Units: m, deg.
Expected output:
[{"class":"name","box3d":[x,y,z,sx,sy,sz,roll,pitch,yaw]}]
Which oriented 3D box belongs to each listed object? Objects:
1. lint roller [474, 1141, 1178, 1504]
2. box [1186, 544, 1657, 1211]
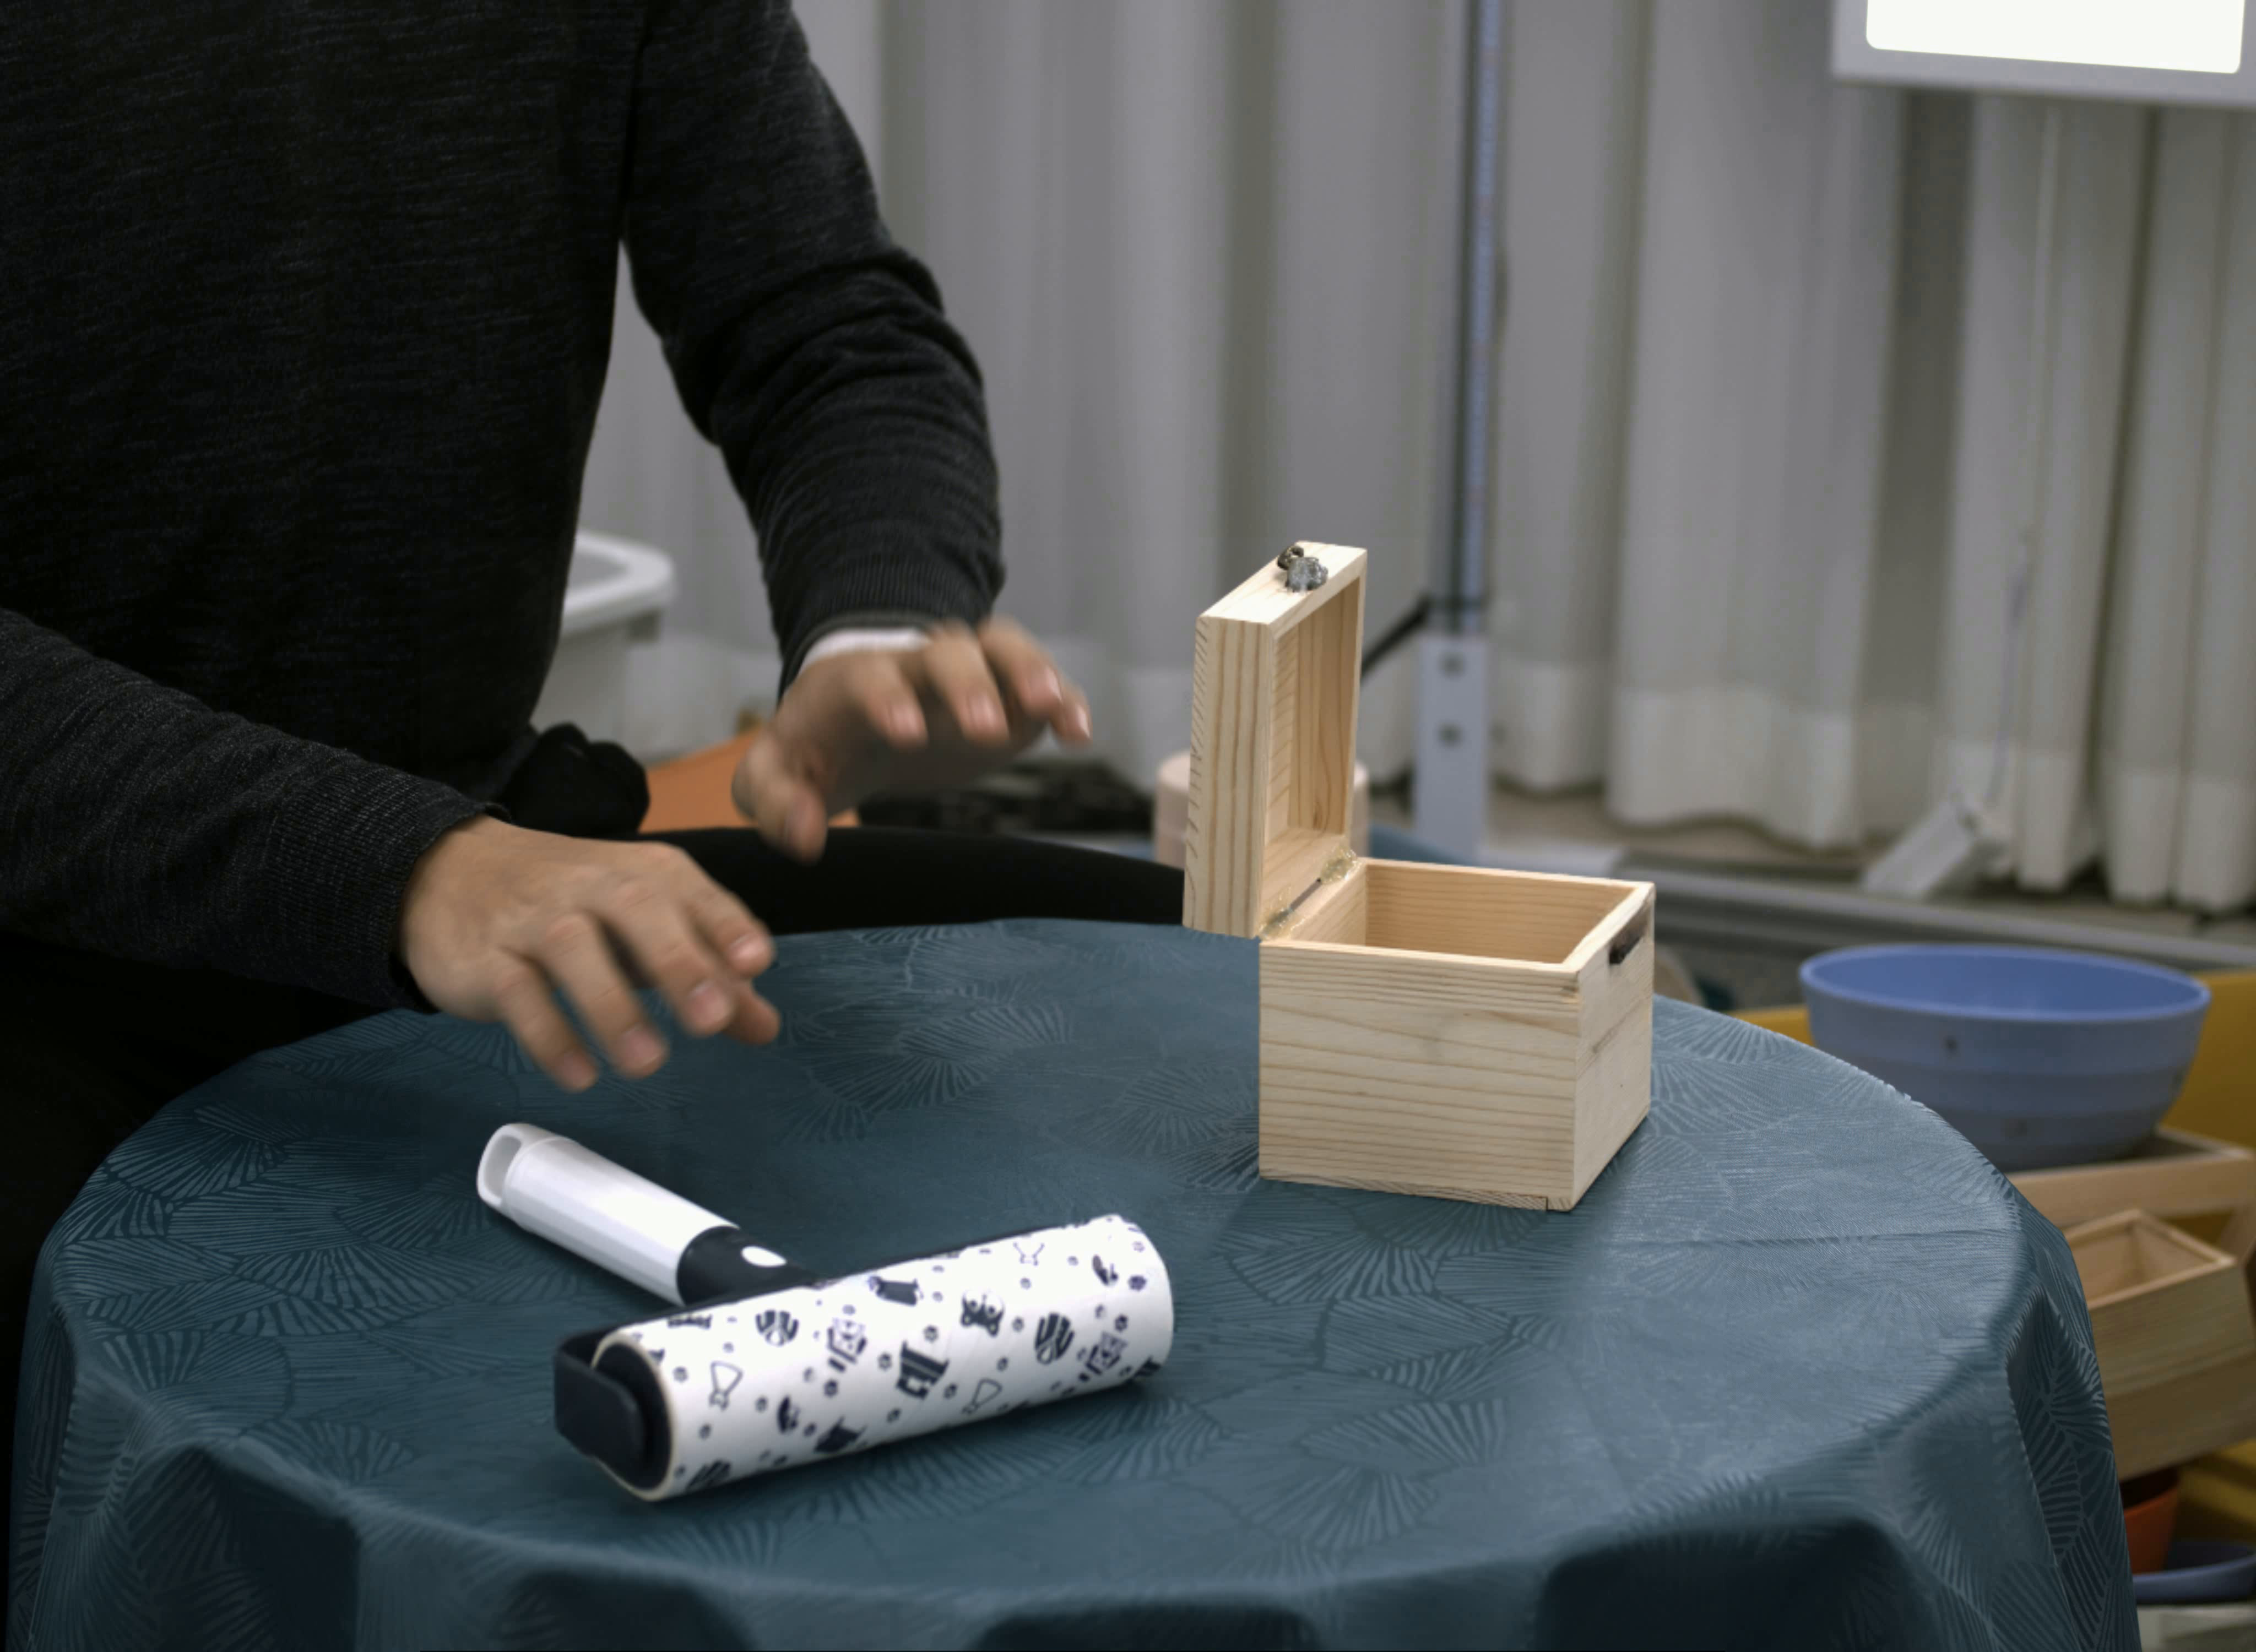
[{"class":"lint roller","box3d":[-0.124,0.122,1.500,0.177,0.051,0.244,-11,19,-34]},{"class":"box","box3d":[0.096,0.013,1.641,0.133,0.186,0.102,4,16,17]}]
